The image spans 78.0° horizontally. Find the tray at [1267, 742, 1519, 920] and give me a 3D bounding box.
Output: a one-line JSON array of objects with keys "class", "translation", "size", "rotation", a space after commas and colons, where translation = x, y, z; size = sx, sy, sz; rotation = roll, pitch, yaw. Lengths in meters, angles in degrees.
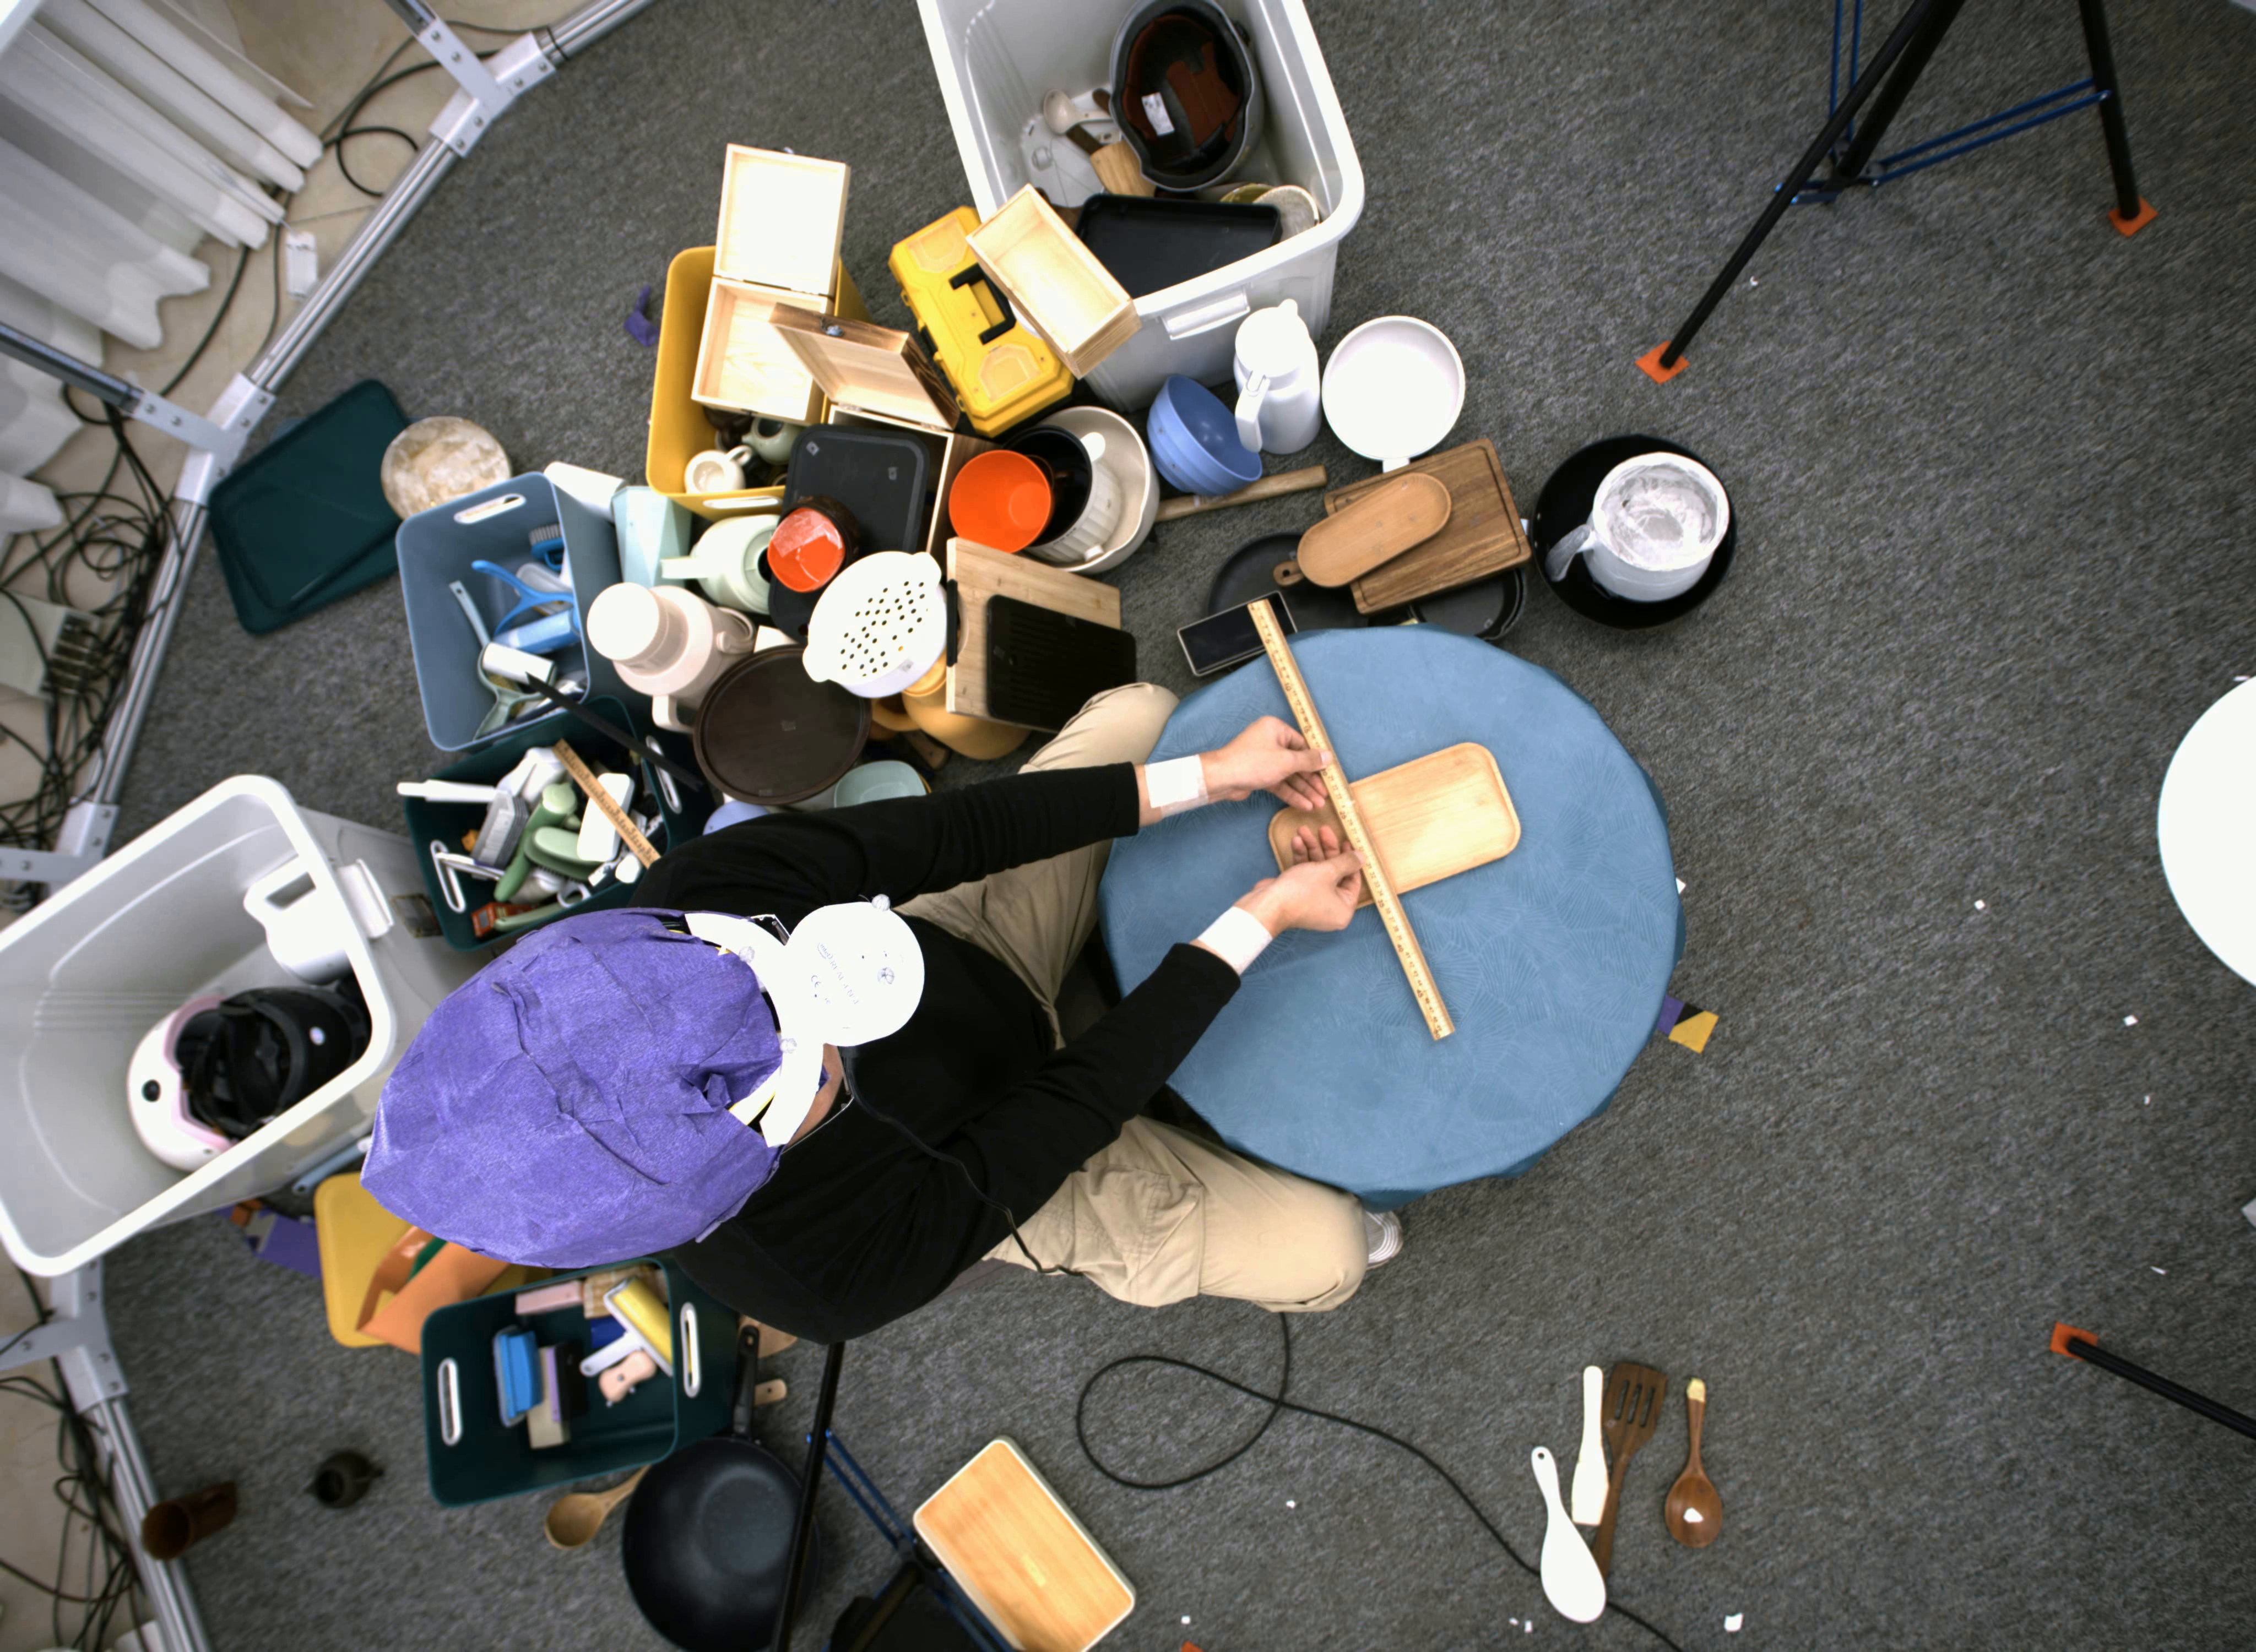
[{"class": "tray", "translation": [0.278, 0.005, 1.454], "size": [0.252, 0.023, 0.129], "rotation": [-19, 81, 10]}]

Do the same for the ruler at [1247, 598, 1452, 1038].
[{"class": "ruler", "translation": [0.230, -0.016, 1.448], "size": [0.026, 0.006, 0.497], "rotation": [-20, 83, -19]}]
